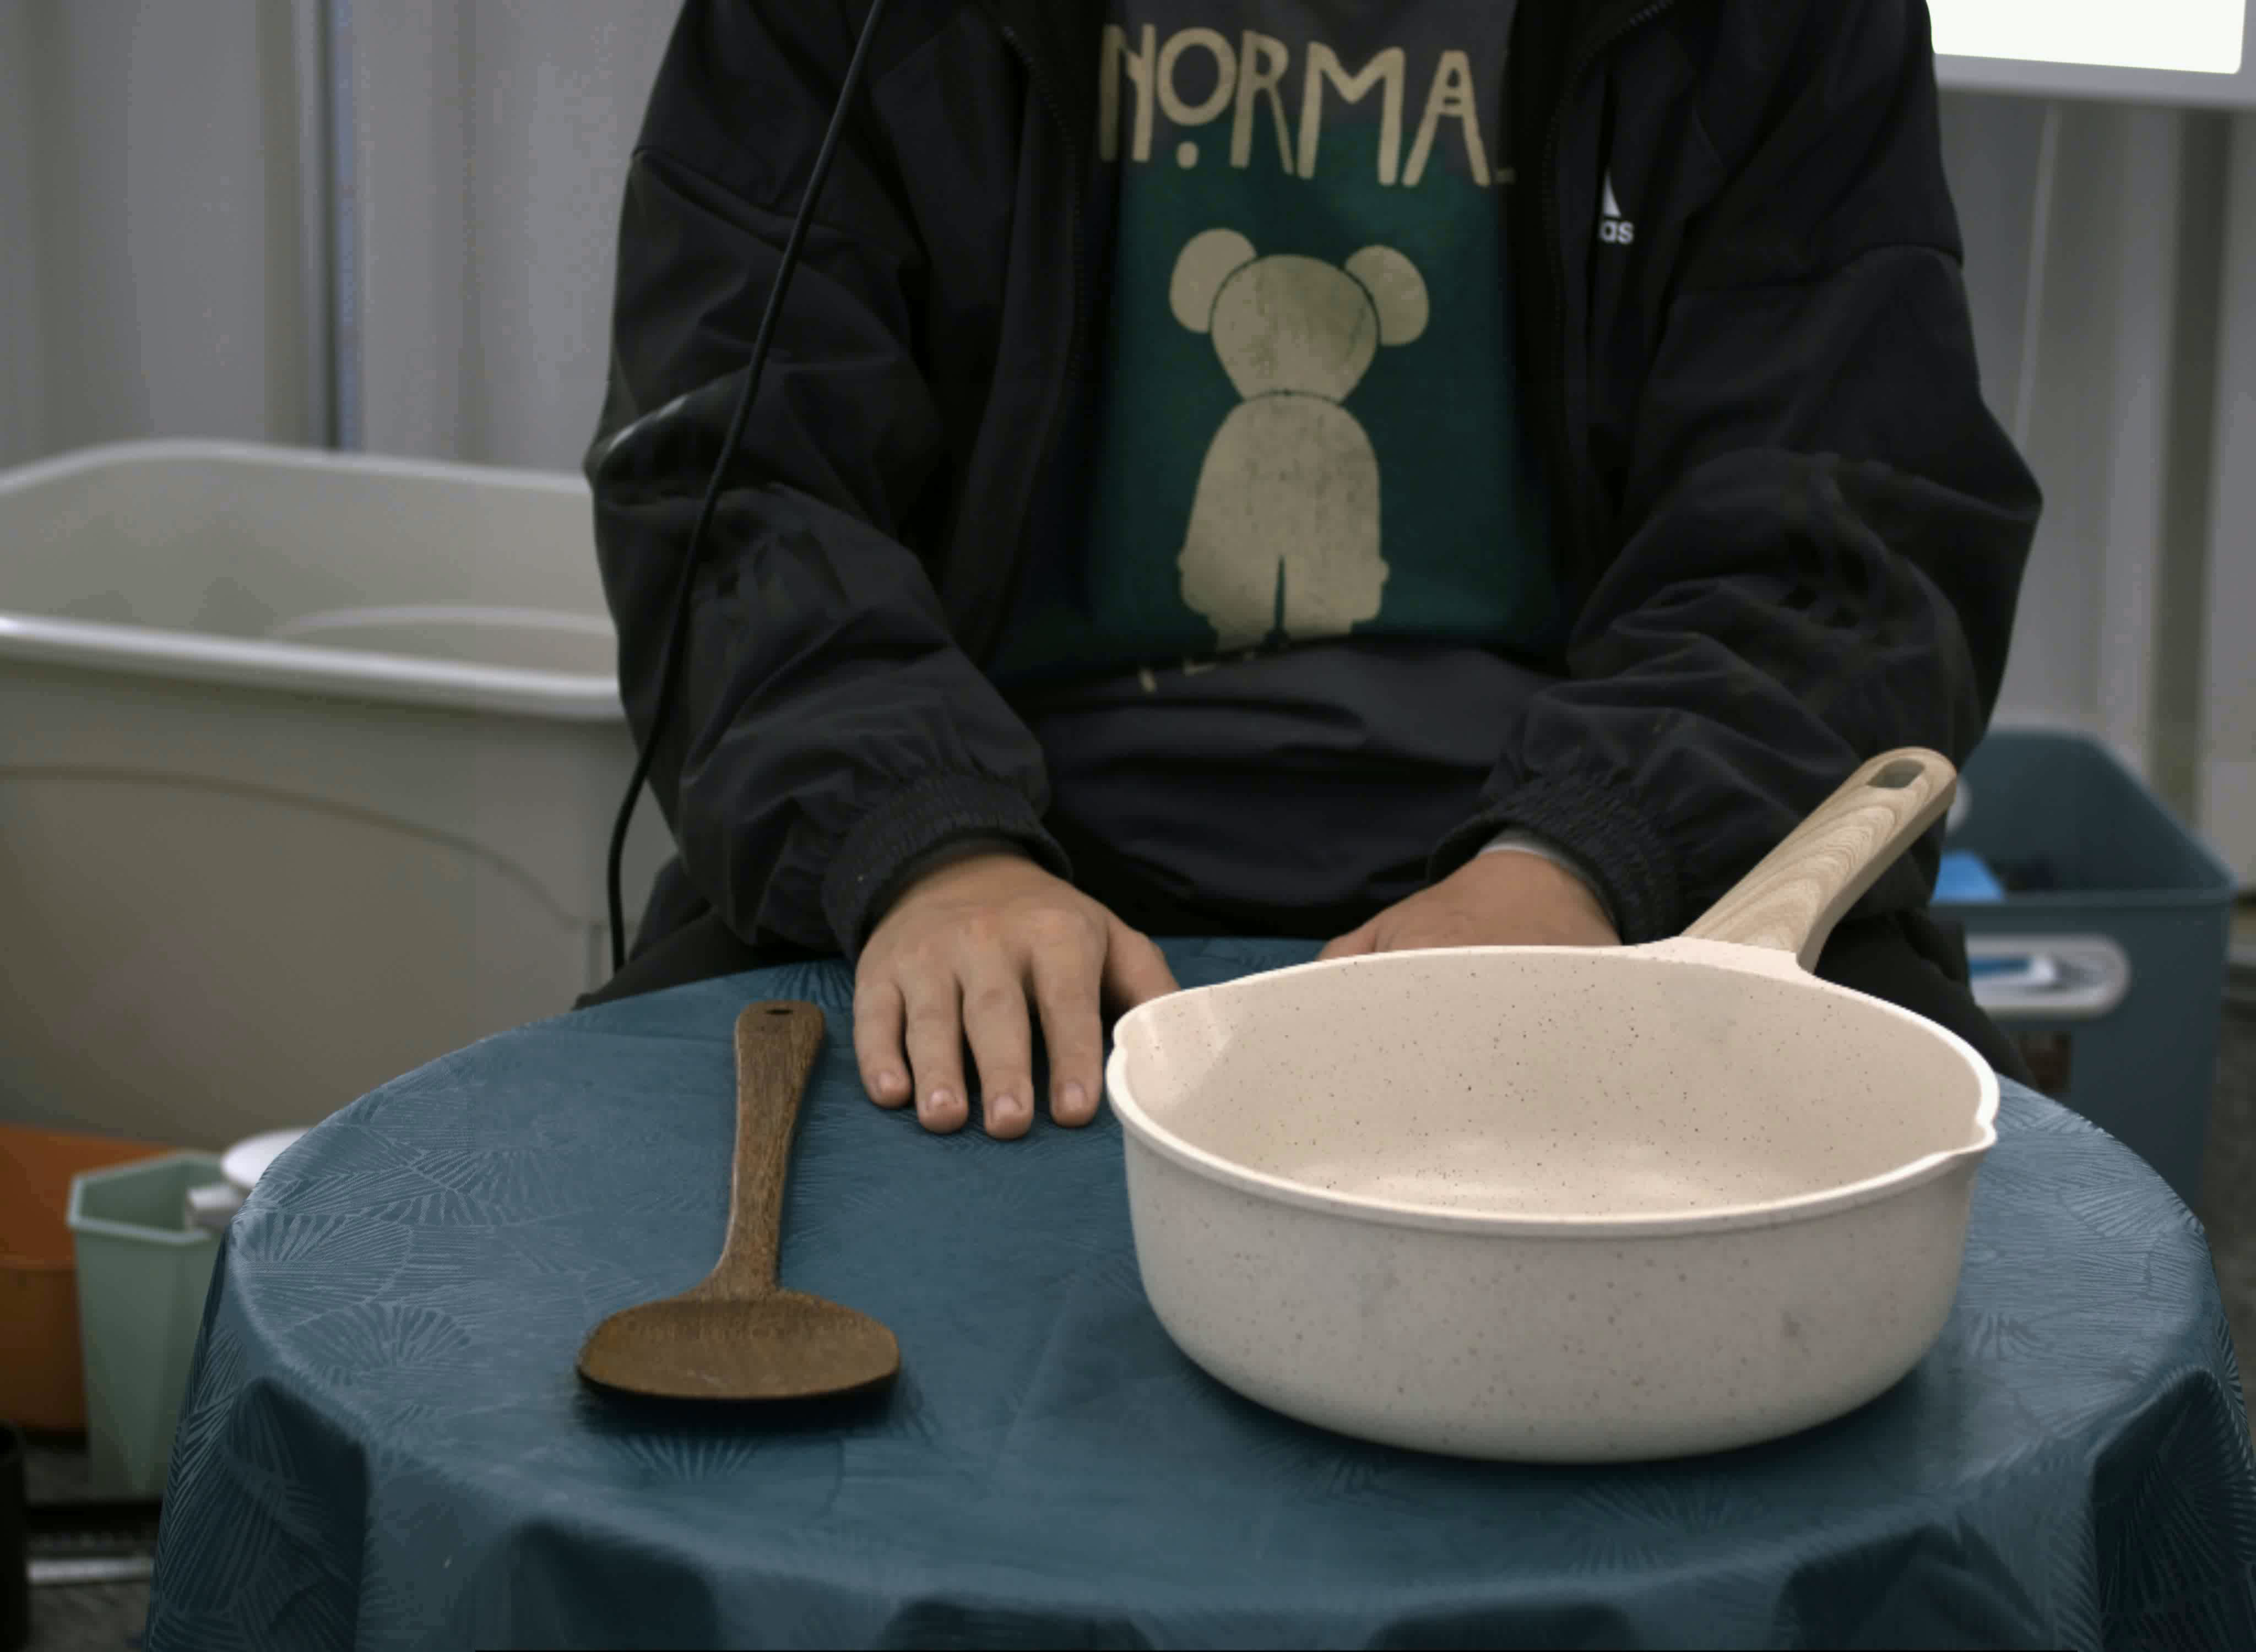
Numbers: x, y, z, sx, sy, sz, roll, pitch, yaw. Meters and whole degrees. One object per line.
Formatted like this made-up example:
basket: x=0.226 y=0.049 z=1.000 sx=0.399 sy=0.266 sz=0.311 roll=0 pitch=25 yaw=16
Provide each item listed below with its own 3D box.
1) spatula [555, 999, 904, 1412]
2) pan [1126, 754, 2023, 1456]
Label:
spatula: x=-0.113 y=0.109 z=1.606 sx=0.096 sy=0.016 sz=0.384 roll=1 pitch=15 yaw=-2
pan: x=0.166 y=0.077 z=1.566 sx=0.260 sy=0.103 sz=0.436 roll=6 pitch=17 yaw=26
